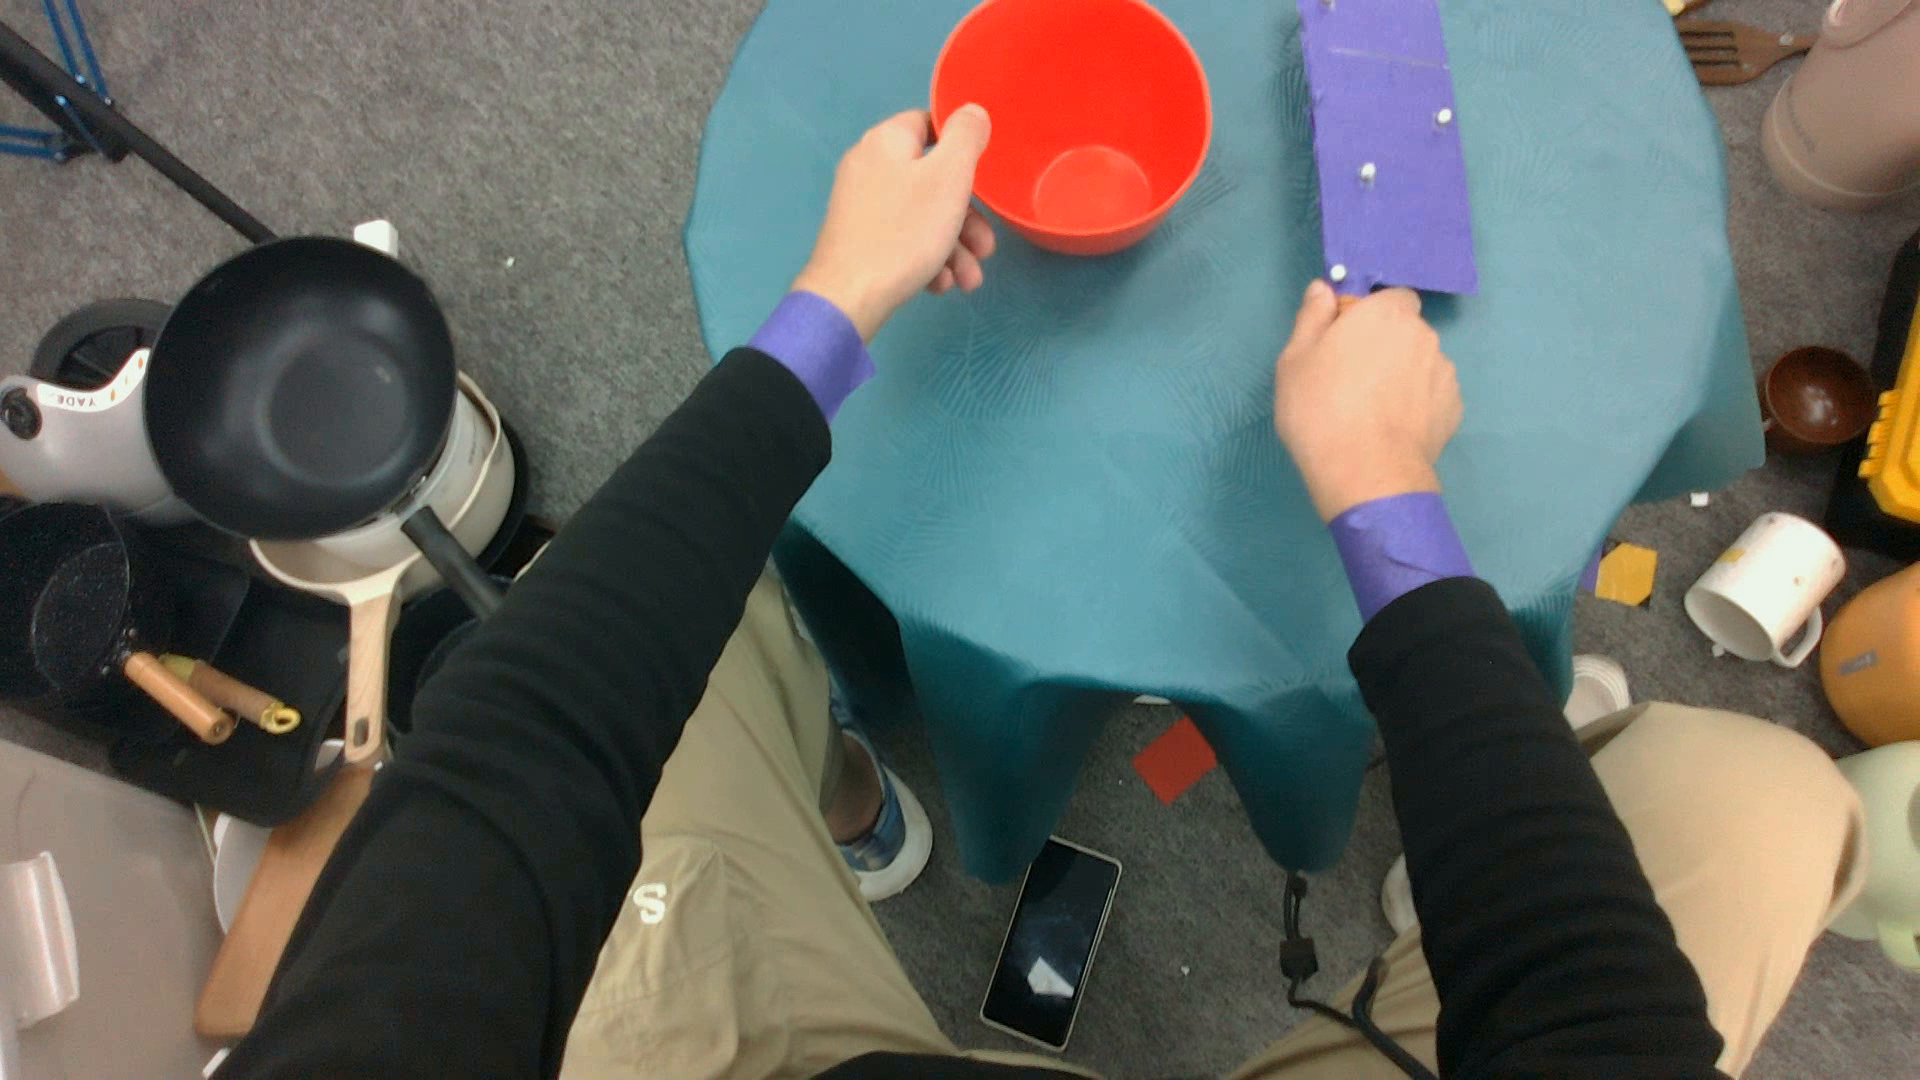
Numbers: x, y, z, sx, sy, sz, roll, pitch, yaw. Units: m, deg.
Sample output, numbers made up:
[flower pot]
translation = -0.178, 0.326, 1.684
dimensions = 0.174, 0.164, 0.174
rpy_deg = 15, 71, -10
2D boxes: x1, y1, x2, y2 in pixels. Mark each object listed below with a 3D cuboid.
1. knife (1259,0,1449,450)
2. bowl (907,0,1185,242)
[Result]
[knife]
translation = 0.225, -0.196, 0.766
dimensions = 0.104, 0.032, 0.316
rpy_deg = 3, 69, -10
[bowl]
translation = 0.049, -0.225, 0.770
dimensions = 0.148, 0.104, 0.148
rpy_deg = -1, 71, 3
